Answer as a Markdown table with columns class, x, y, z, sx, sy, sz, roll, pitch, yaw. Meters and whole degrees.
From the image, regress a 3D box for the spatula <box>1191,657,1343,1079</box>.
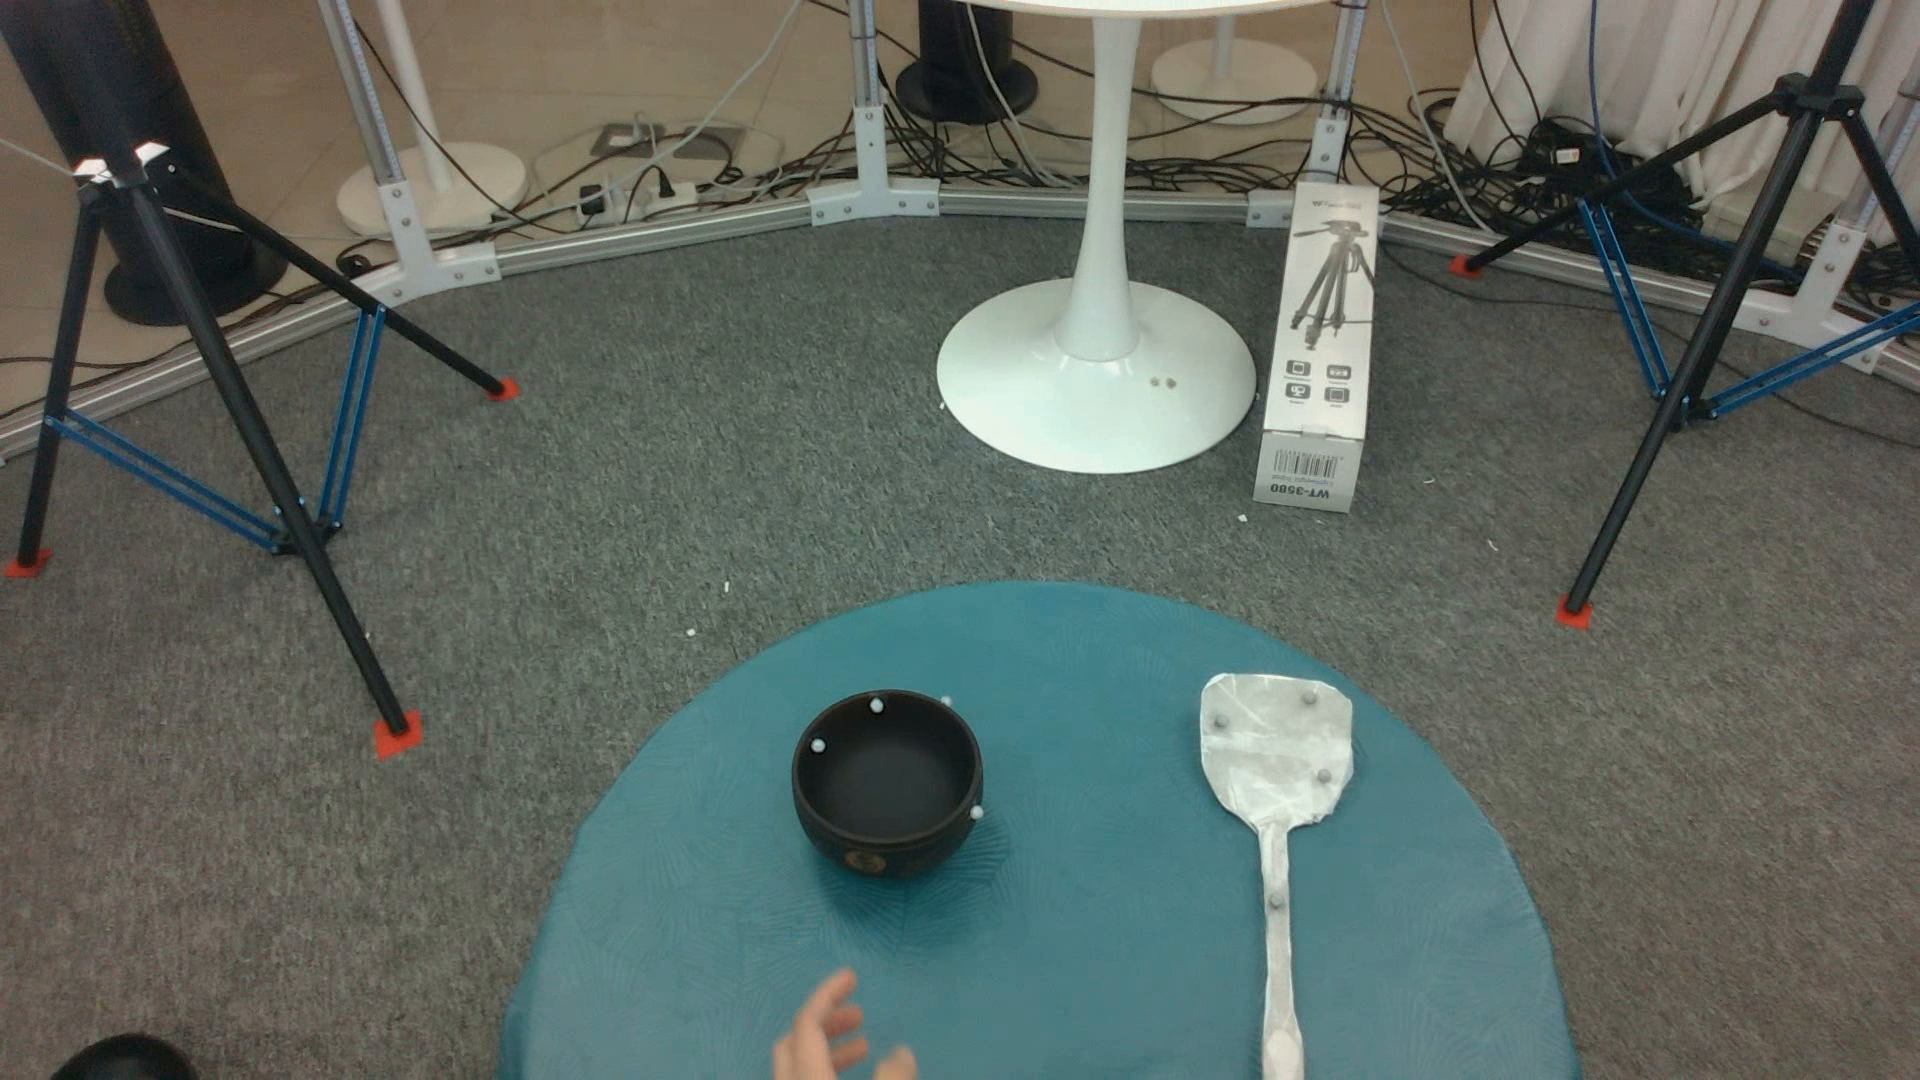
| class | x | y | z | sx | sy | sz | roll | pitch | yaw |
| --- | --- | --- | --- | --- | --- | --- | --- | --- | --- |
| spatula | 0.177 | 0.220 | 0.799 | 0.098 | 0.044 | 0.367 | 8 | 44 | 5 |

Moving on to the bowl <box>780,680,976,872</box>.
| class | x | y | z | sx | sy | sz | roll | pitch | yaw |
| --- | --- | --- | --- | --- | --- | --- | --- | --- | --- |
| bowl | -0.049 | 0.152 | 0.846 | 0.118 | 0.069 | 0.118 | -1 | 45 | 1 |
